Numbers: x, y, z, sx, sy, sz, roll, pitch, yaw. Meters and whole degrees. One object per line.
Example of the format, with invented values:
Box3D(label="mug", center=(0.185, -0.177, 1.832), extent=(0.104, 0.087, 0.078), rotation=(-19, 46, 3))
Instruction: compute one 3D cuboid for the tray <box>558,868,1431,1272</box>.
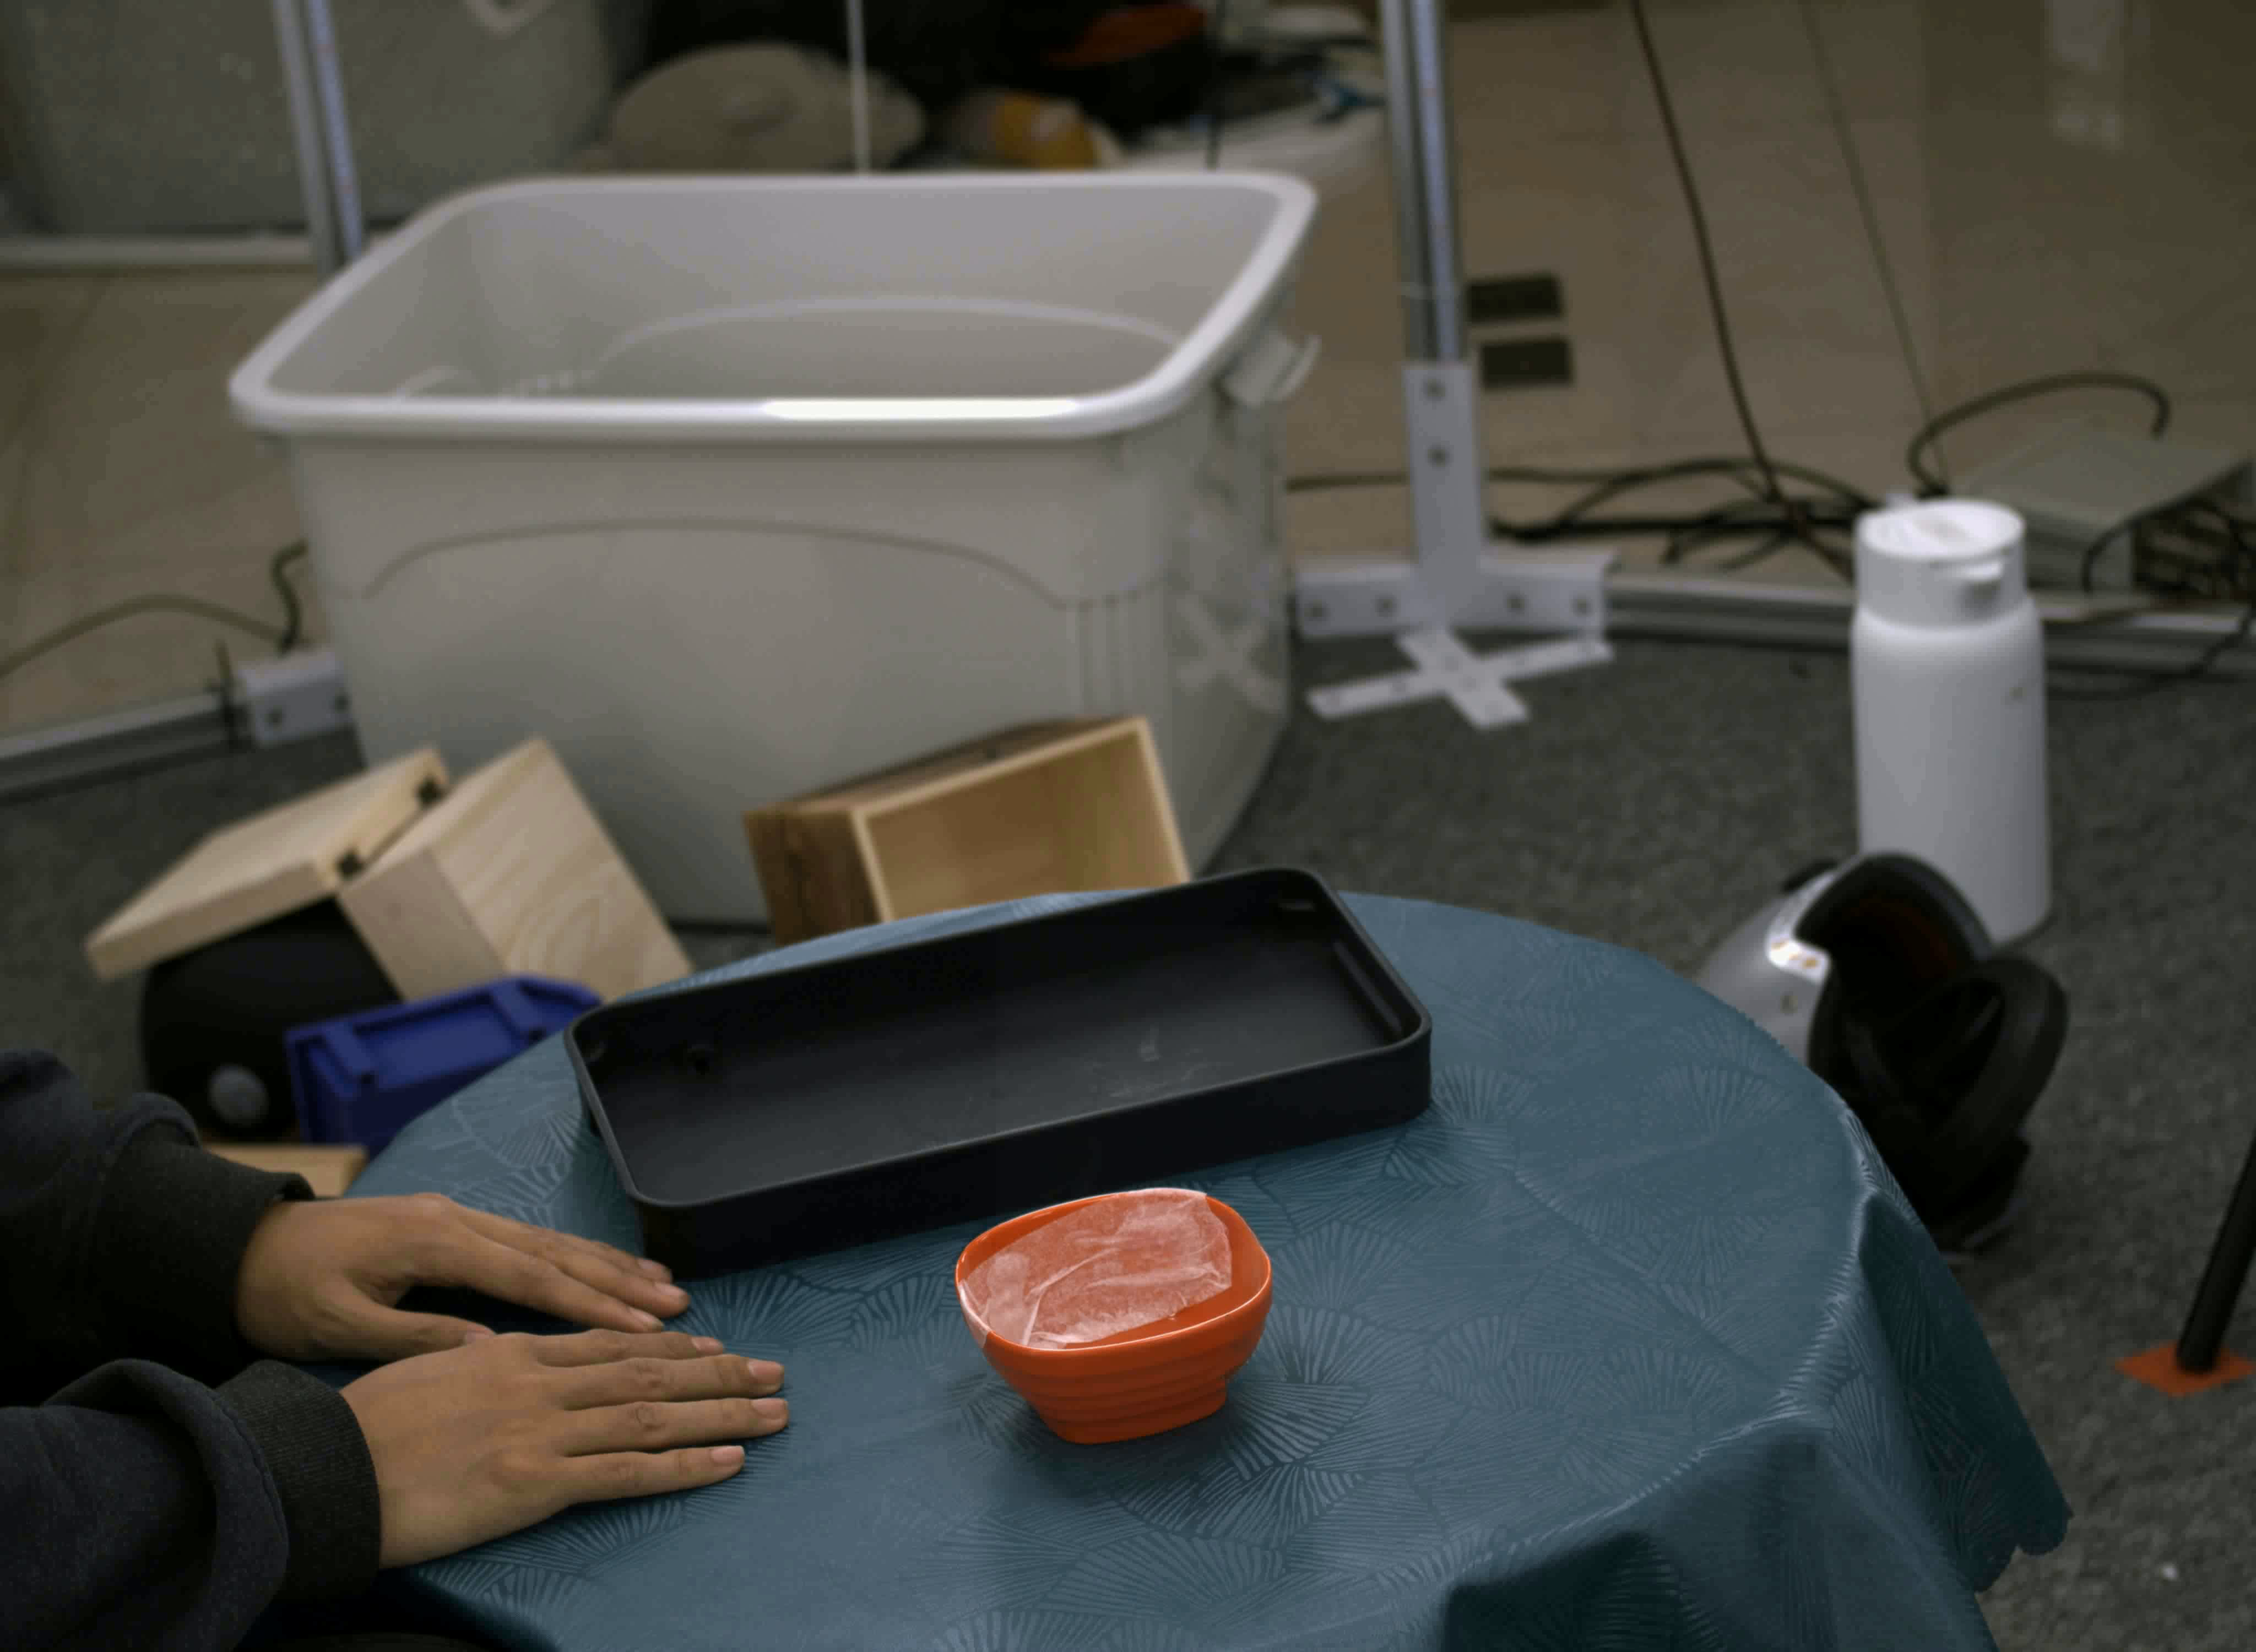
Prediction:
Box3D(label="tray", center=(-0.053, 0.092, 2.214), extent=(0.317, 0.037, 0.182), rotation=(-11, 25, -12))

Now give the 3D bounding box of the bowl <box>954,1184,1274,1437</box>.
Box3D(label="bowl", center=(-0.004, 0.176, 2.003), extent=(0.119, 0.052, 0.117), rotation=(-3, 25, 2))
